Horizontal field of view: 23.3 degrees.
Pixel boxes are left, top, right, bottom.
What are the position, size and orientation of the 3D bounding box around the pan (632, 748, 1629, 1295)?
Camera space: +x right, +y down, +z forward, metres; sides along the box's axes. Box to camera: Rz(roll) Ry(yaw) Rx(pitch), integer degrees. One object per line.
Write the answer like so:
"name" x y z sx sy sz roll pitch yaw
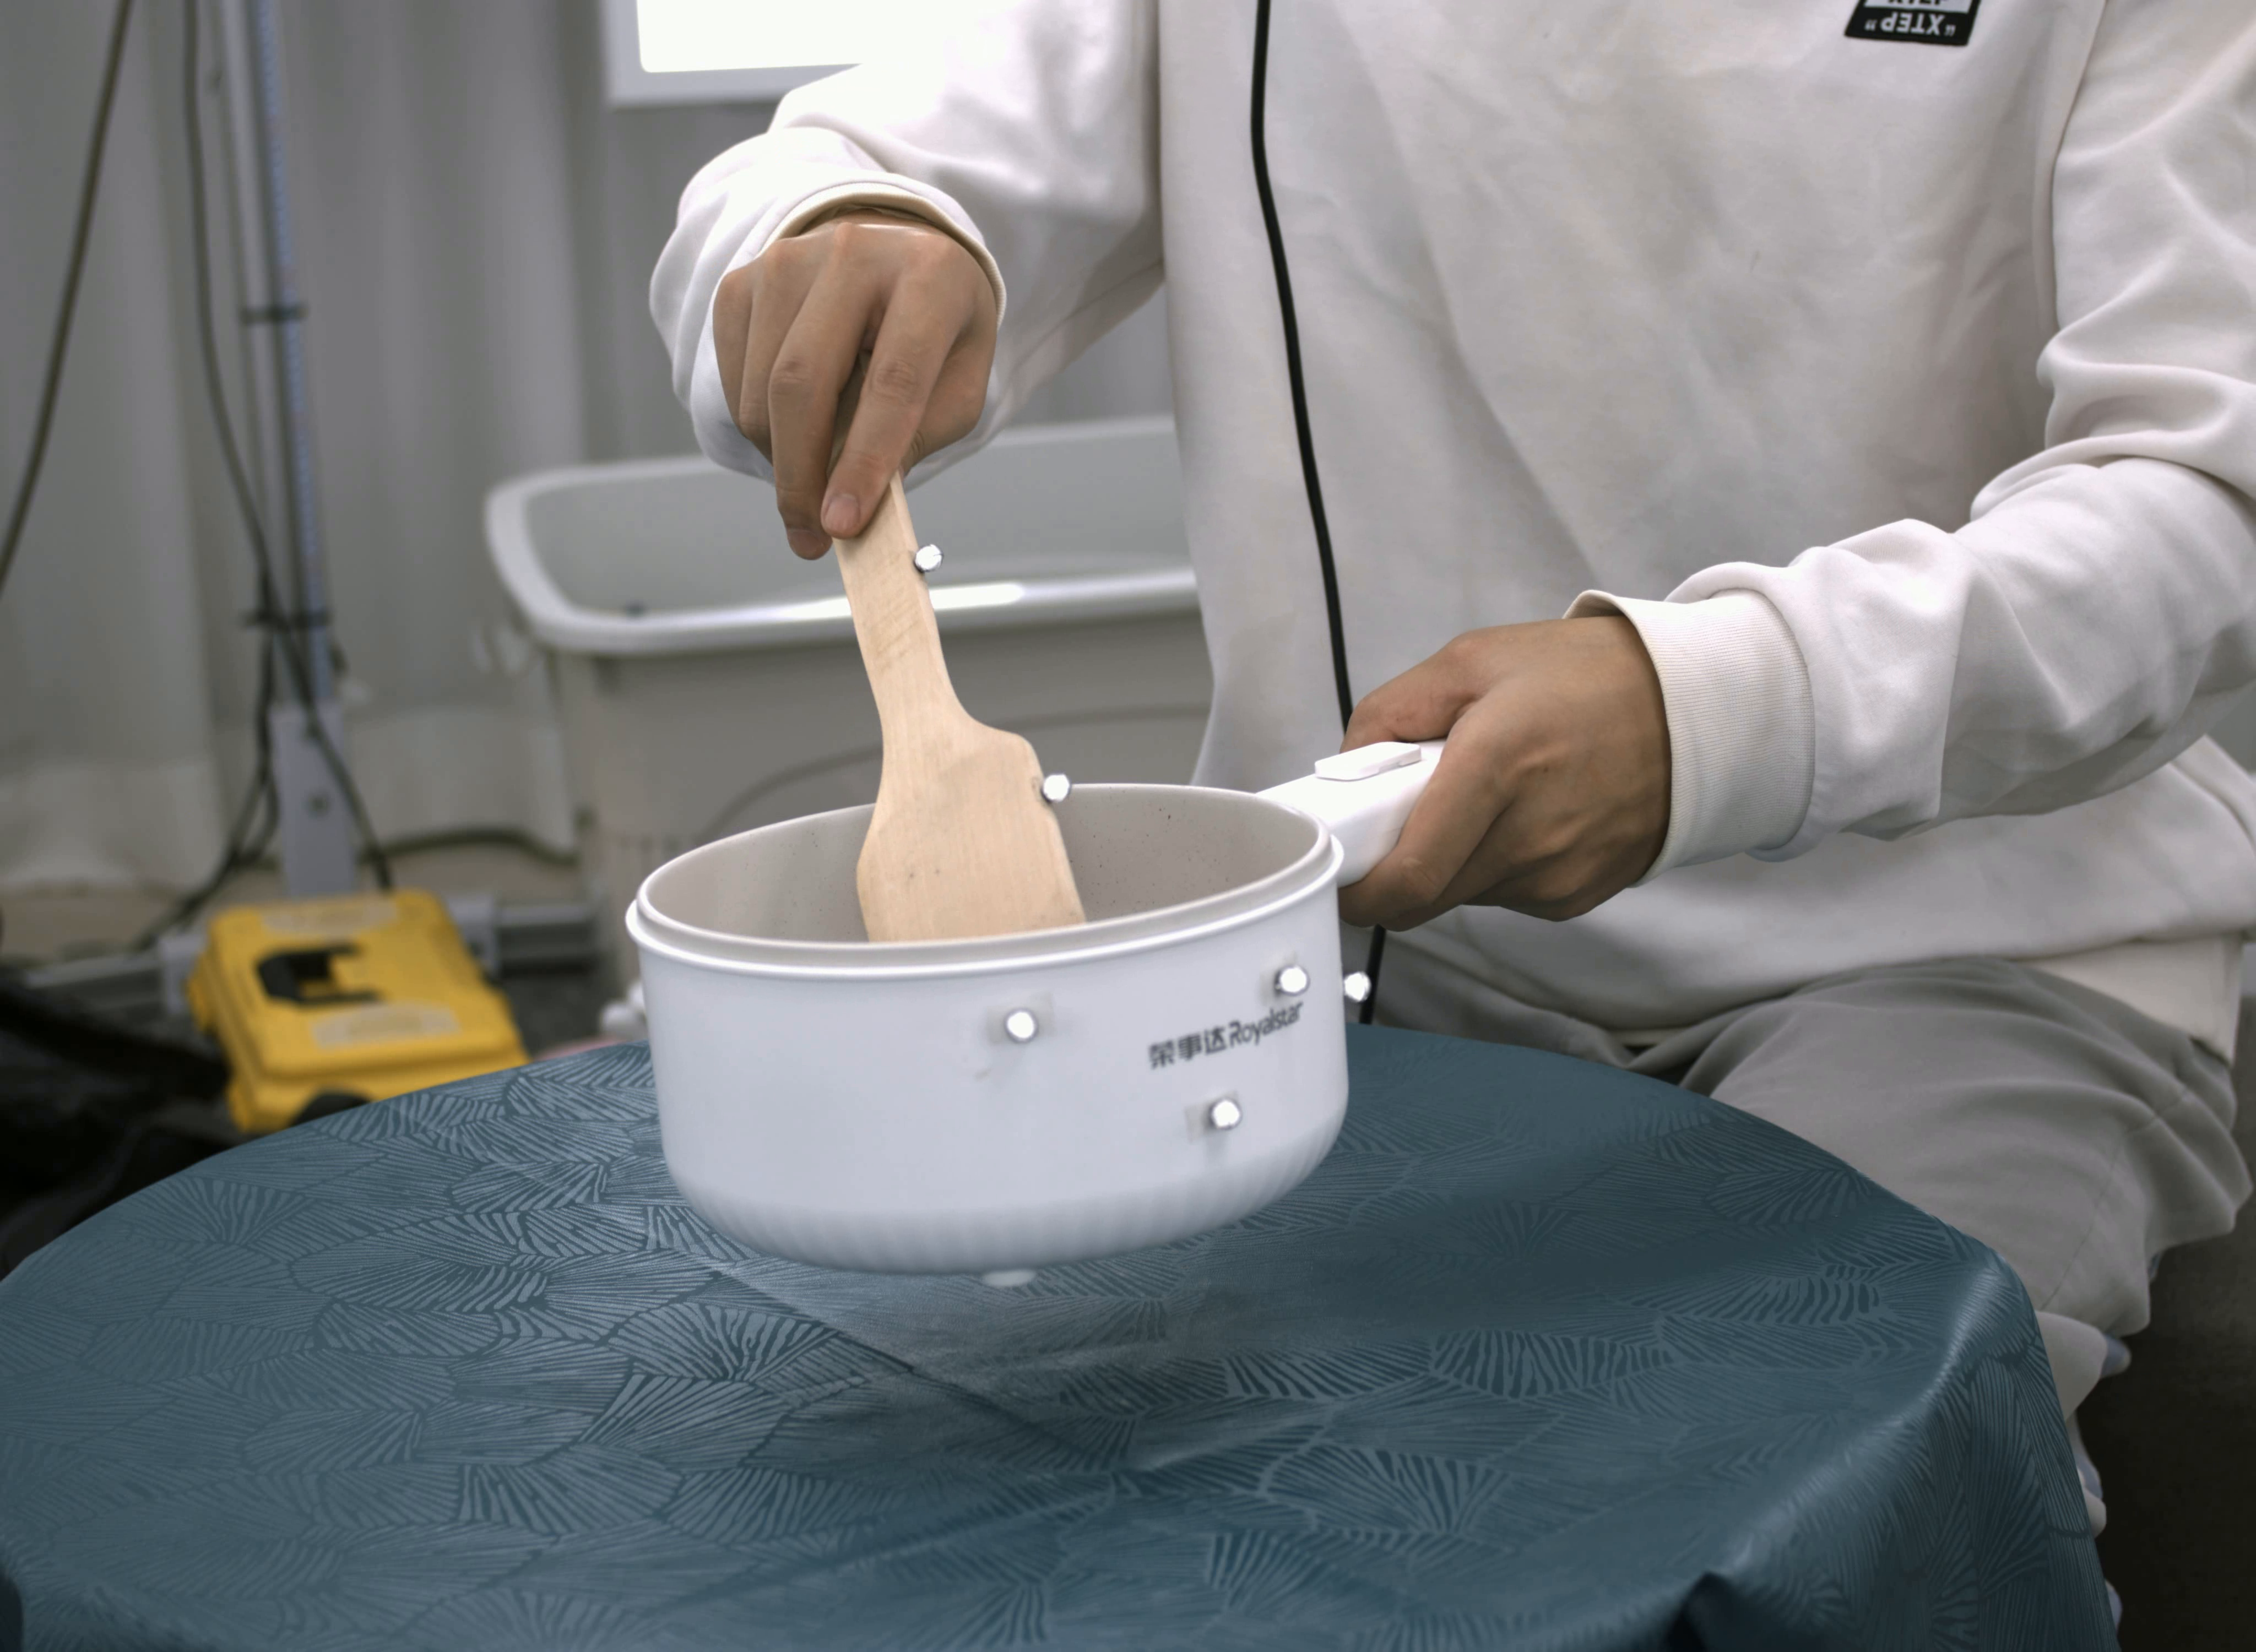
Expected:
"pan" 0.019 0.052 1.590 0.202 0.102 0.354 1 11 45
